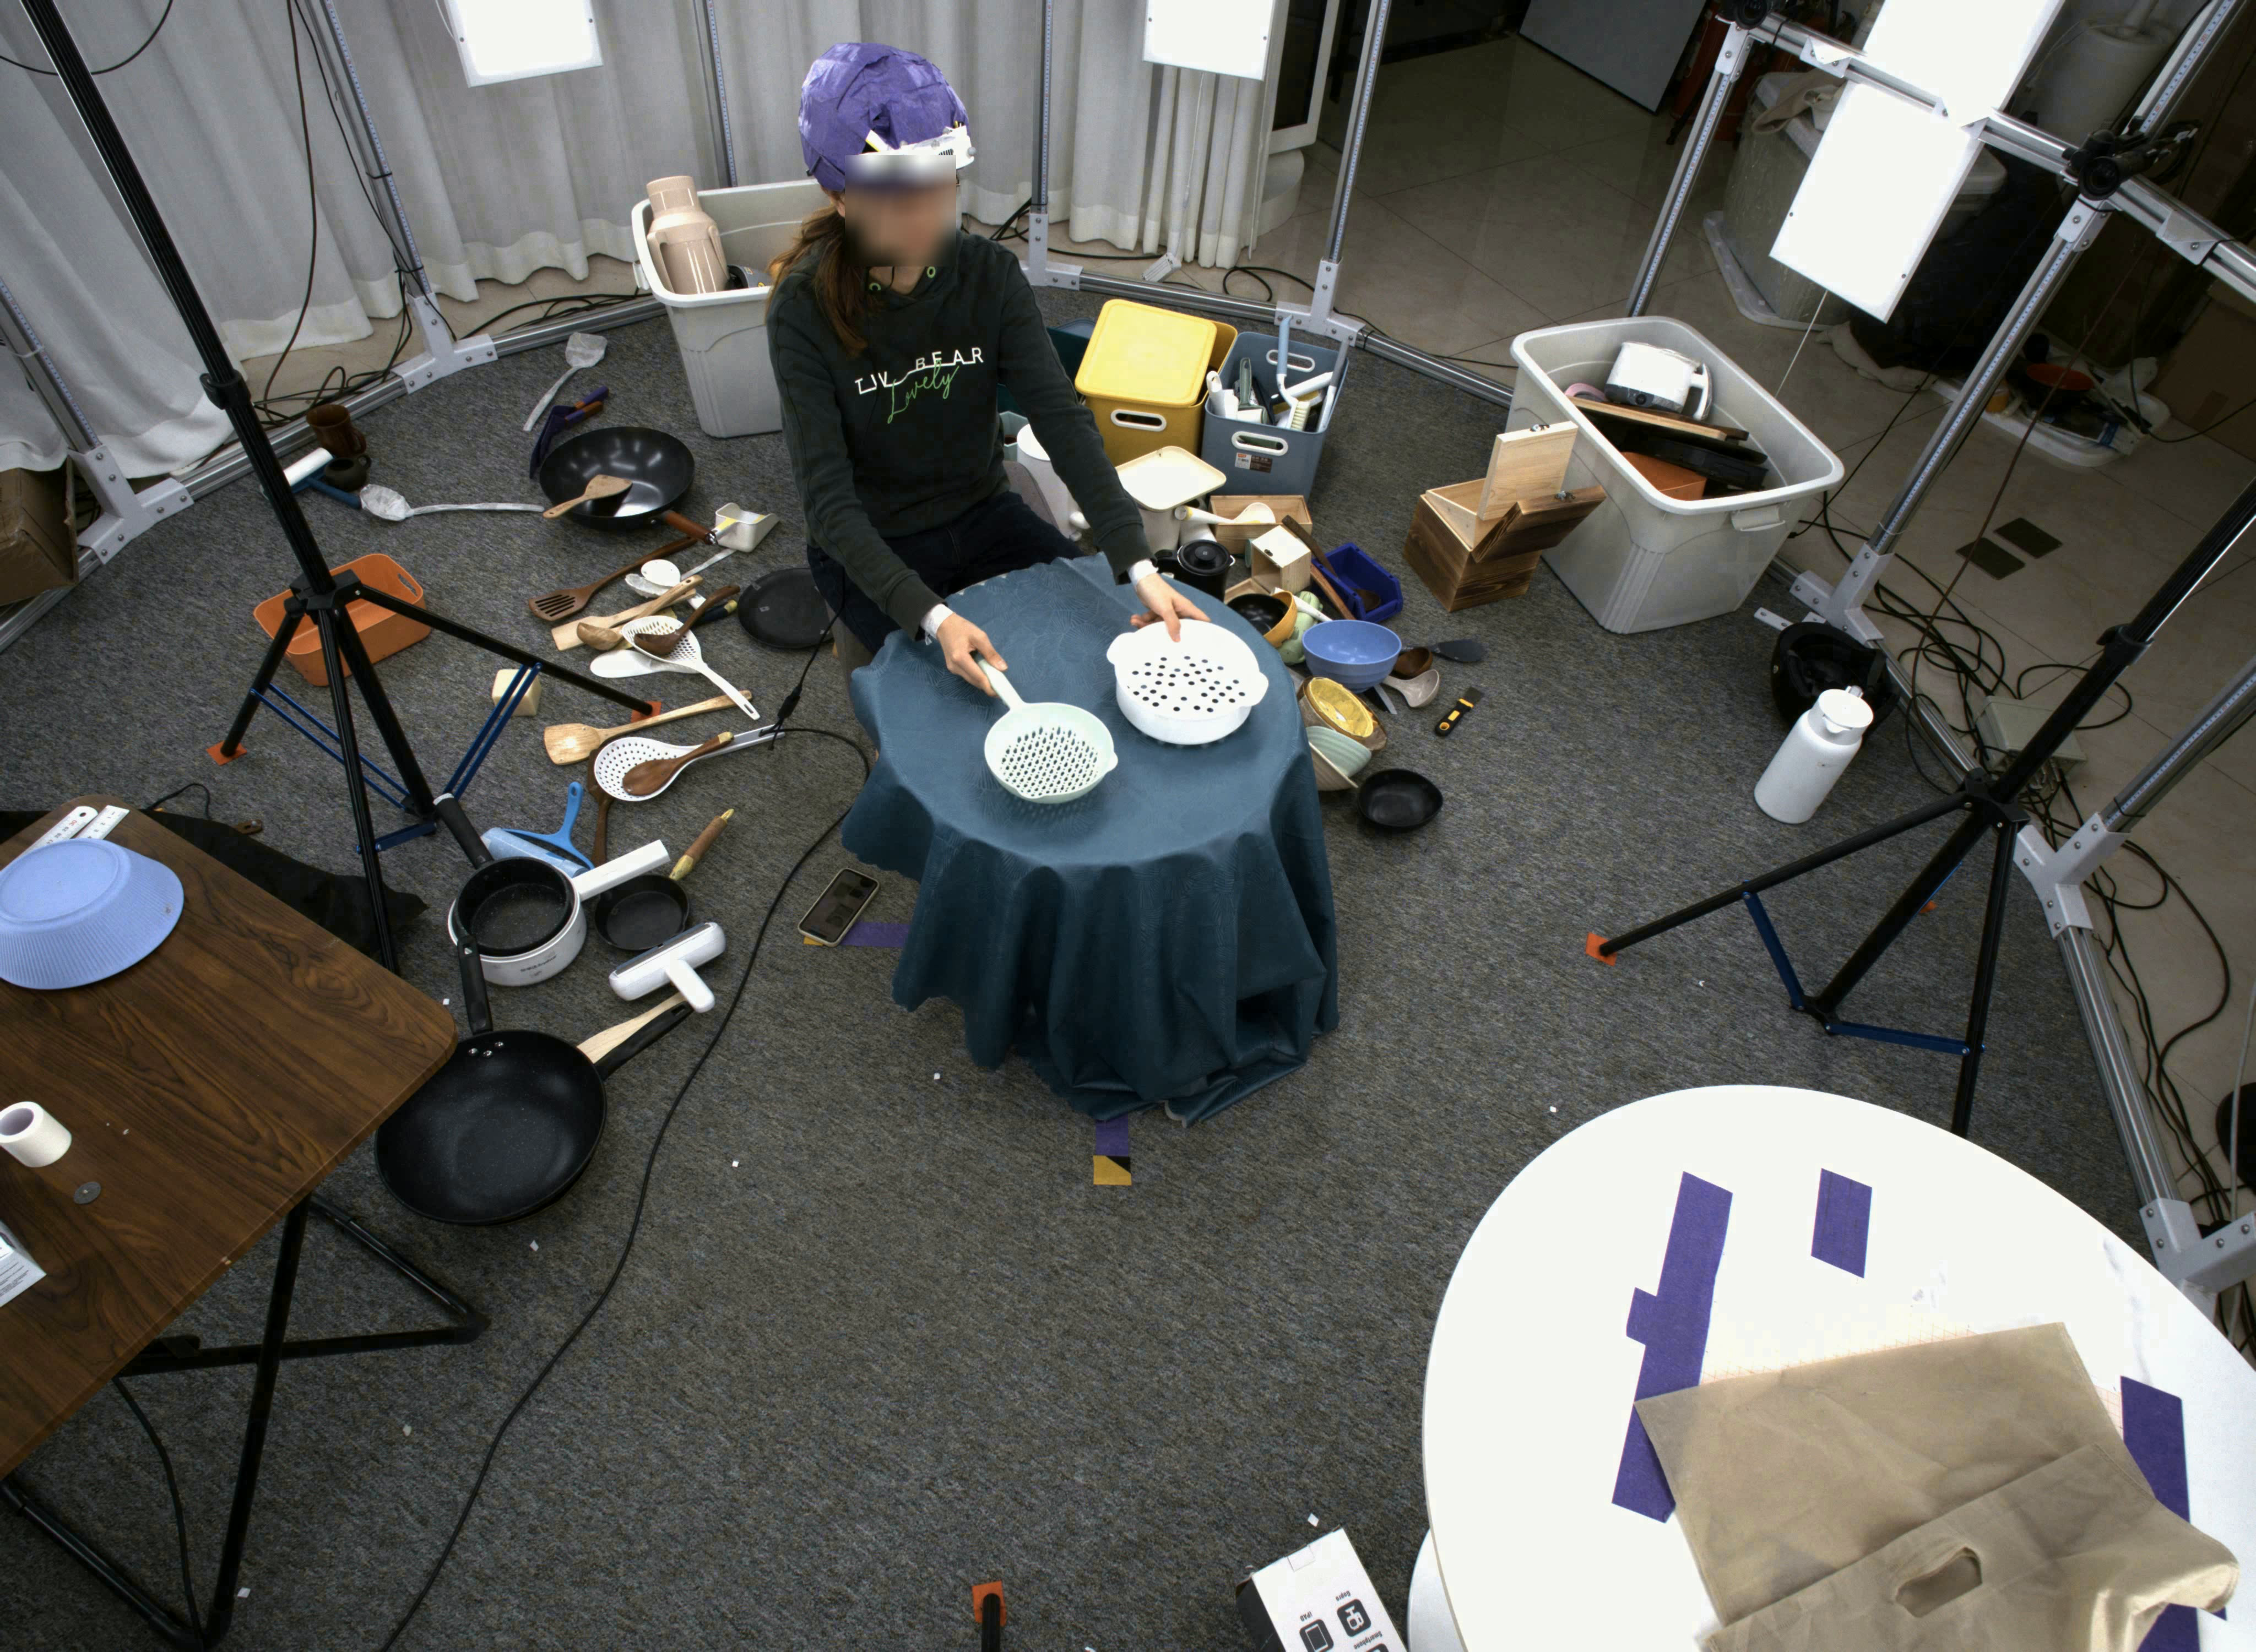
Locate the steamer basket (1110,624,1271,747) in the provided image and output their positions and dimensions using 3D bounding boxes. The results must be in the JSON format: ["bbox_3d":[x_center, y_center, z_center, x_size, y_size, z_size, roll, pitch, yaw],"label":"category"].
[{"bbox_3d":[0.086,-0.199,1.818,0.232,0.067,0.206,18,49,14],"label":"steamer basket"}]

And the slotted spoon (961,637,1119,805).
[{"bbox_3d":[-0.150,-0.159,1.759,0.170,0.073,0.366,-21,58,-20],"label":"slotted spoon"}]
